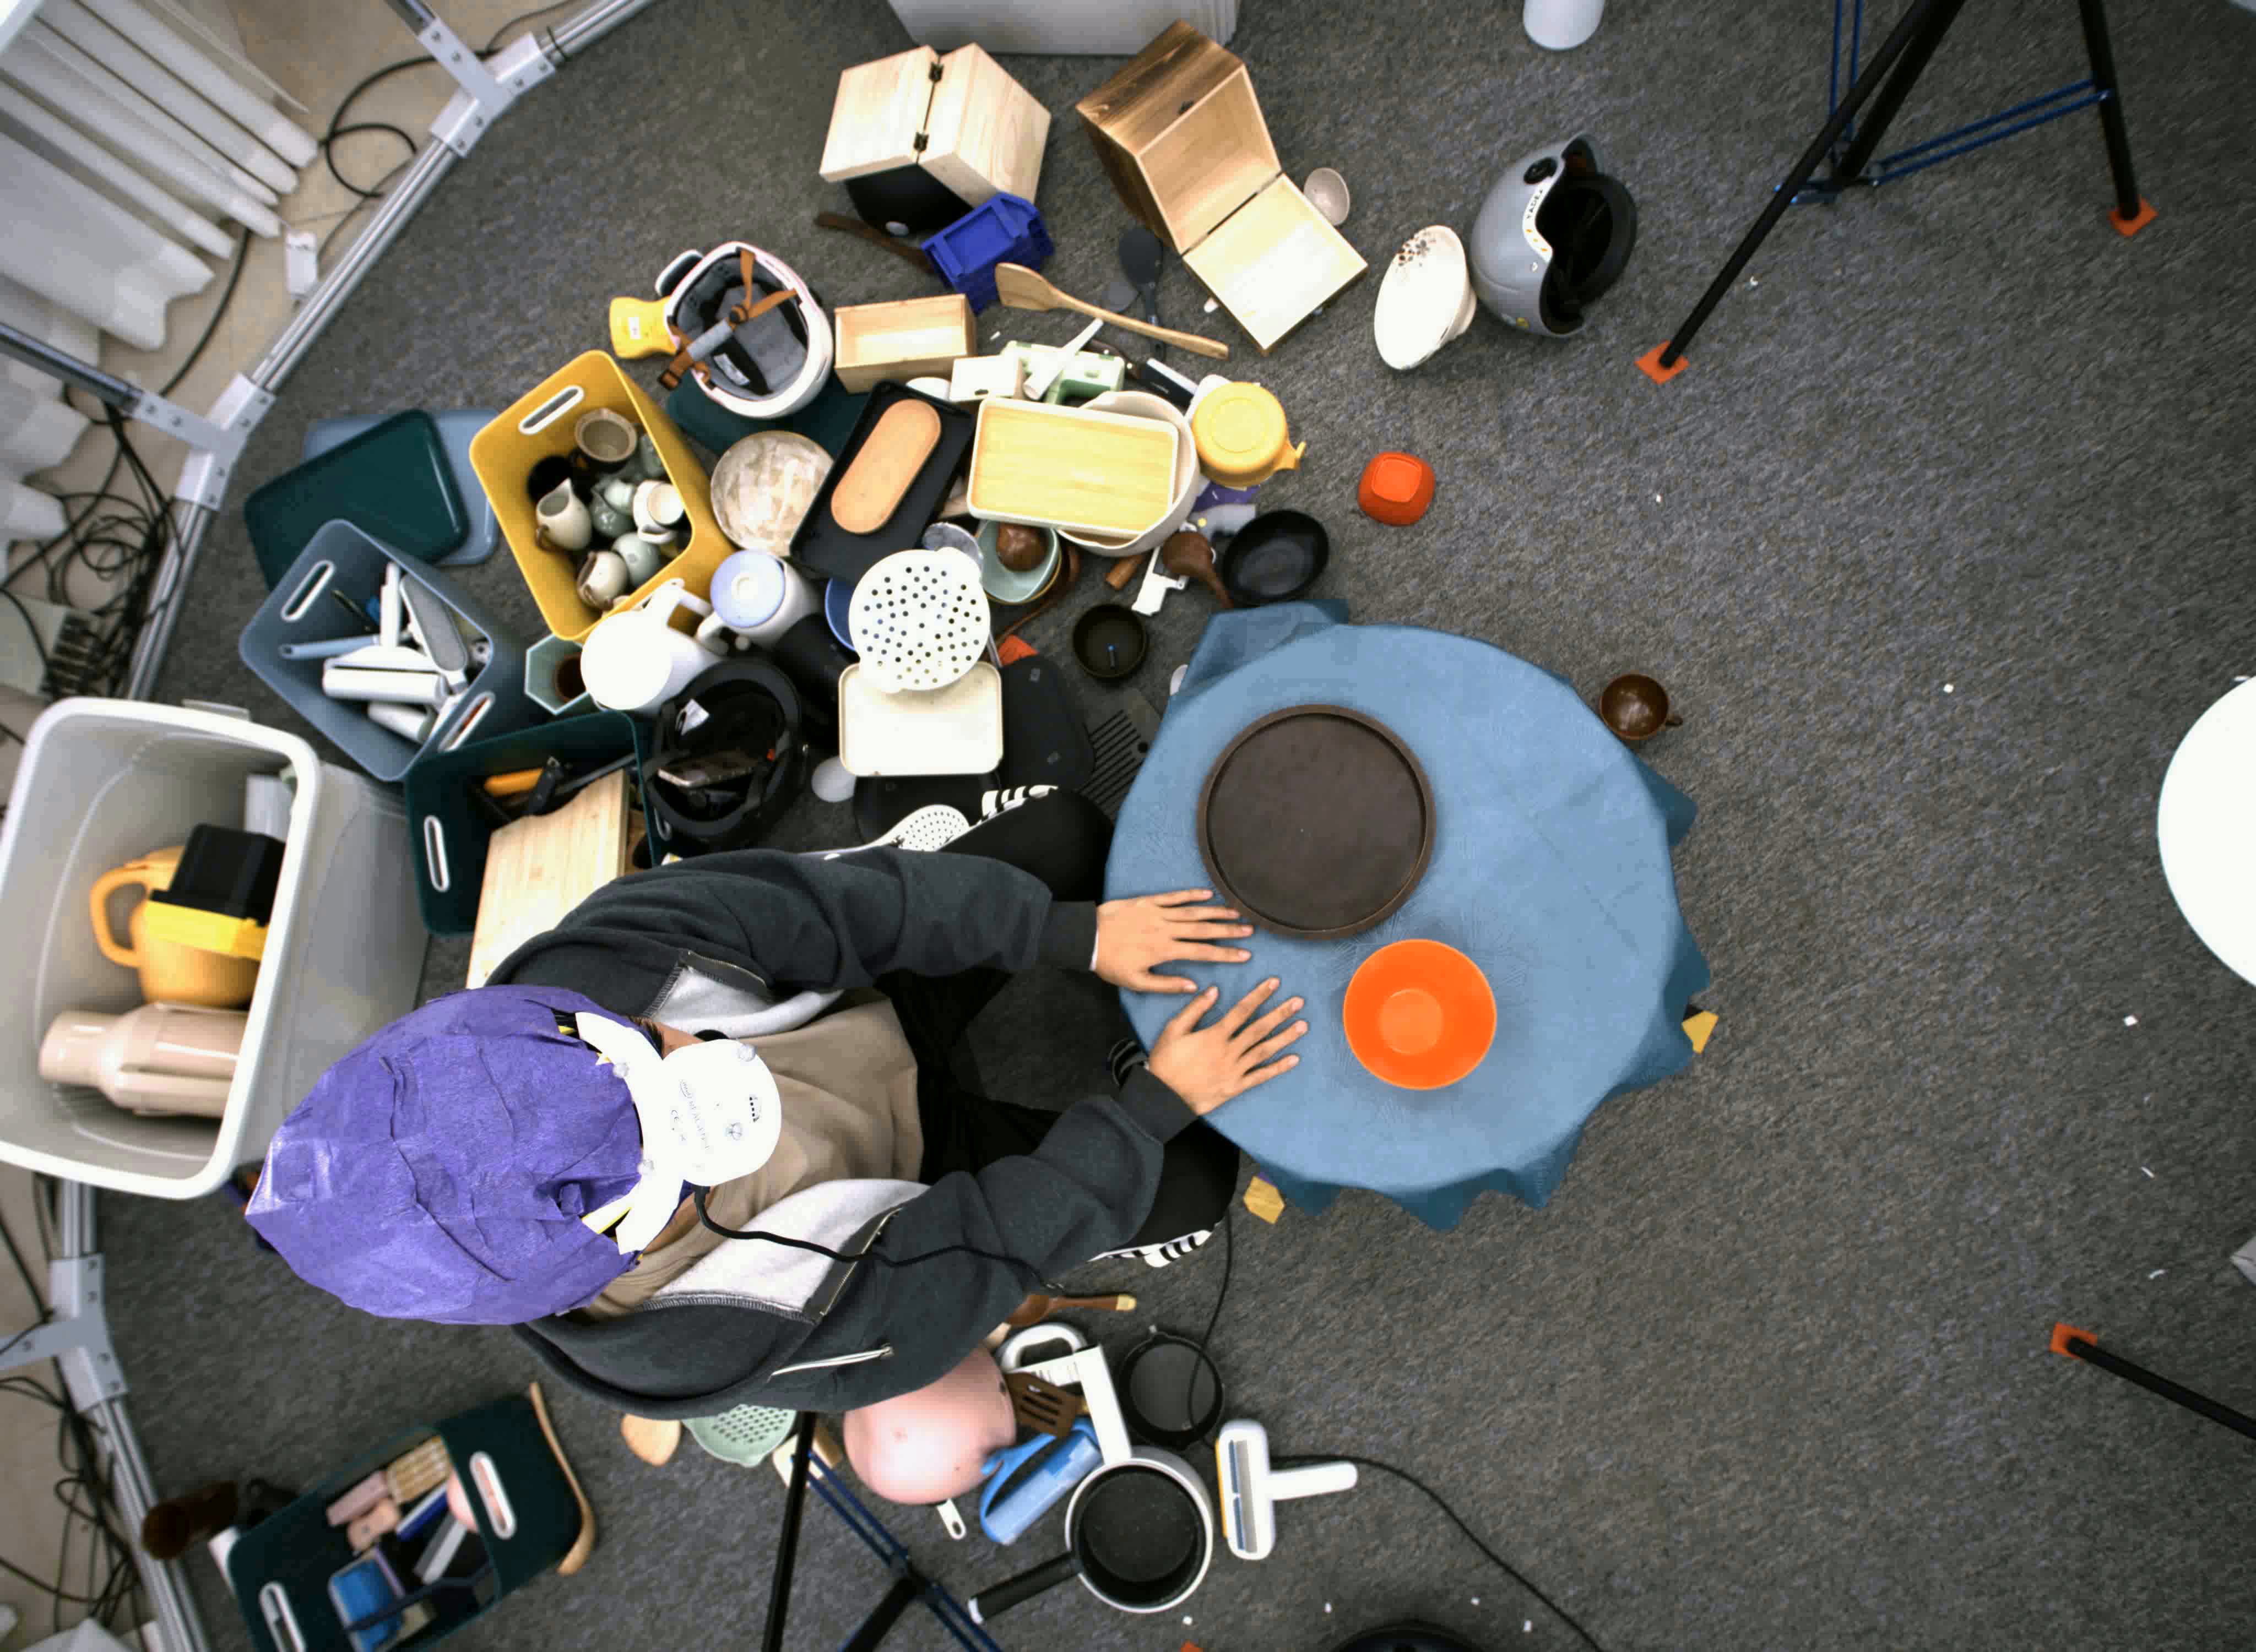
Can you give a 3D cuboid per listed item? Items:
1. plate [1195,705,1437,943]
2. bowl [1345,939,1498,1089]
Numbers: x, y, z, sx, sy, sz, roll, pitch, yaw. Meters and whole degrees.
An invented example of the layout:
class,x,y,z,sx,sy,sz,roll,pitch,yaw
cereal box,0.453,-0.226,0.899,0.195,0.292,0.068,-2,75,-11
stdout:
class,x,y,z,sx,sy,sz,roll,pitch,yaw
plate,0.198,-0.004,1.465,0.256,0.029,0.254,-1,88,10
bowl,0.294,0.188,1.398,0.148,0.105,0.147,-1,86,9
